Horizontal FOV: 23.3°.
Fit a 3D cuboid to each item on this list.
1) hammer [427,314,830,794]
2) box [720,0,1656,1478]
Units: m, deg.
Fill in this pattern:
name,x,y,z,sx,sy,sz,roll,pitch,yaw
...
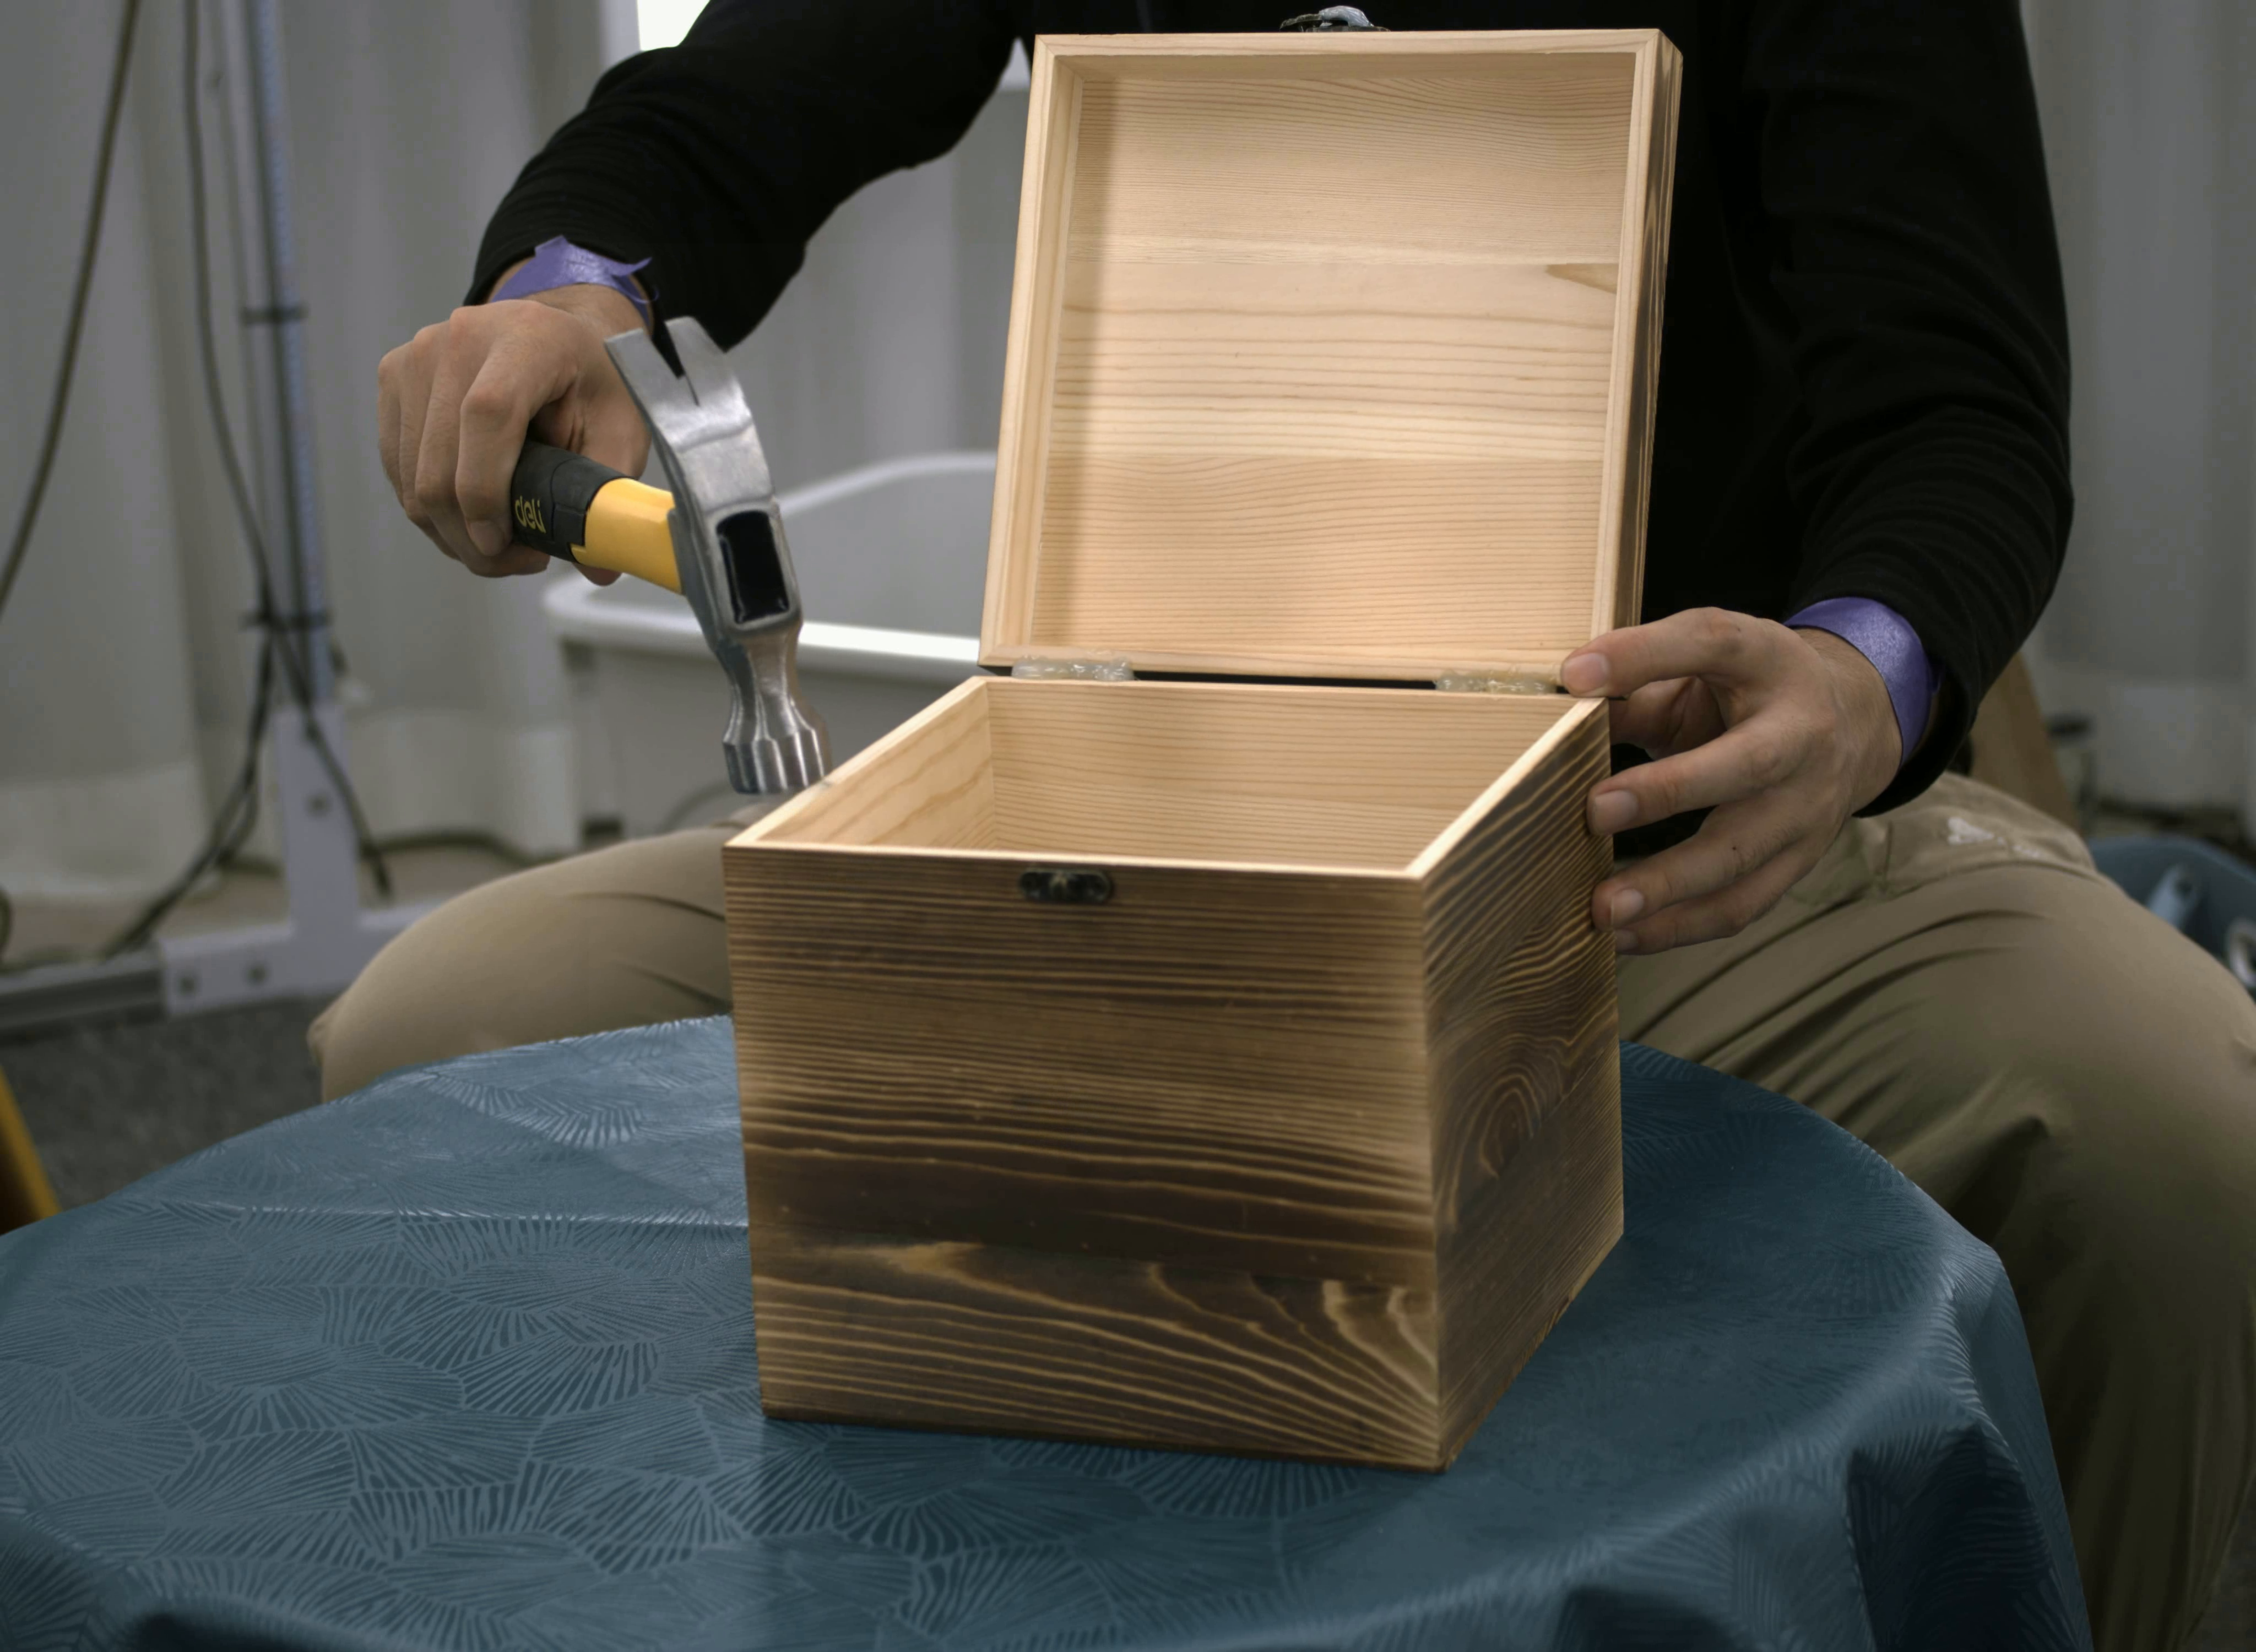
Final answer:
name,x,y,z,sx,sy,sz,roll,pitch,yaw
hammer,-0.163,-0.095,1.686,0.032,0.131,0.340,-13,11,-19
box,0.030,-0.042,1.599,0.209,0.374,0.323,2,15,19
